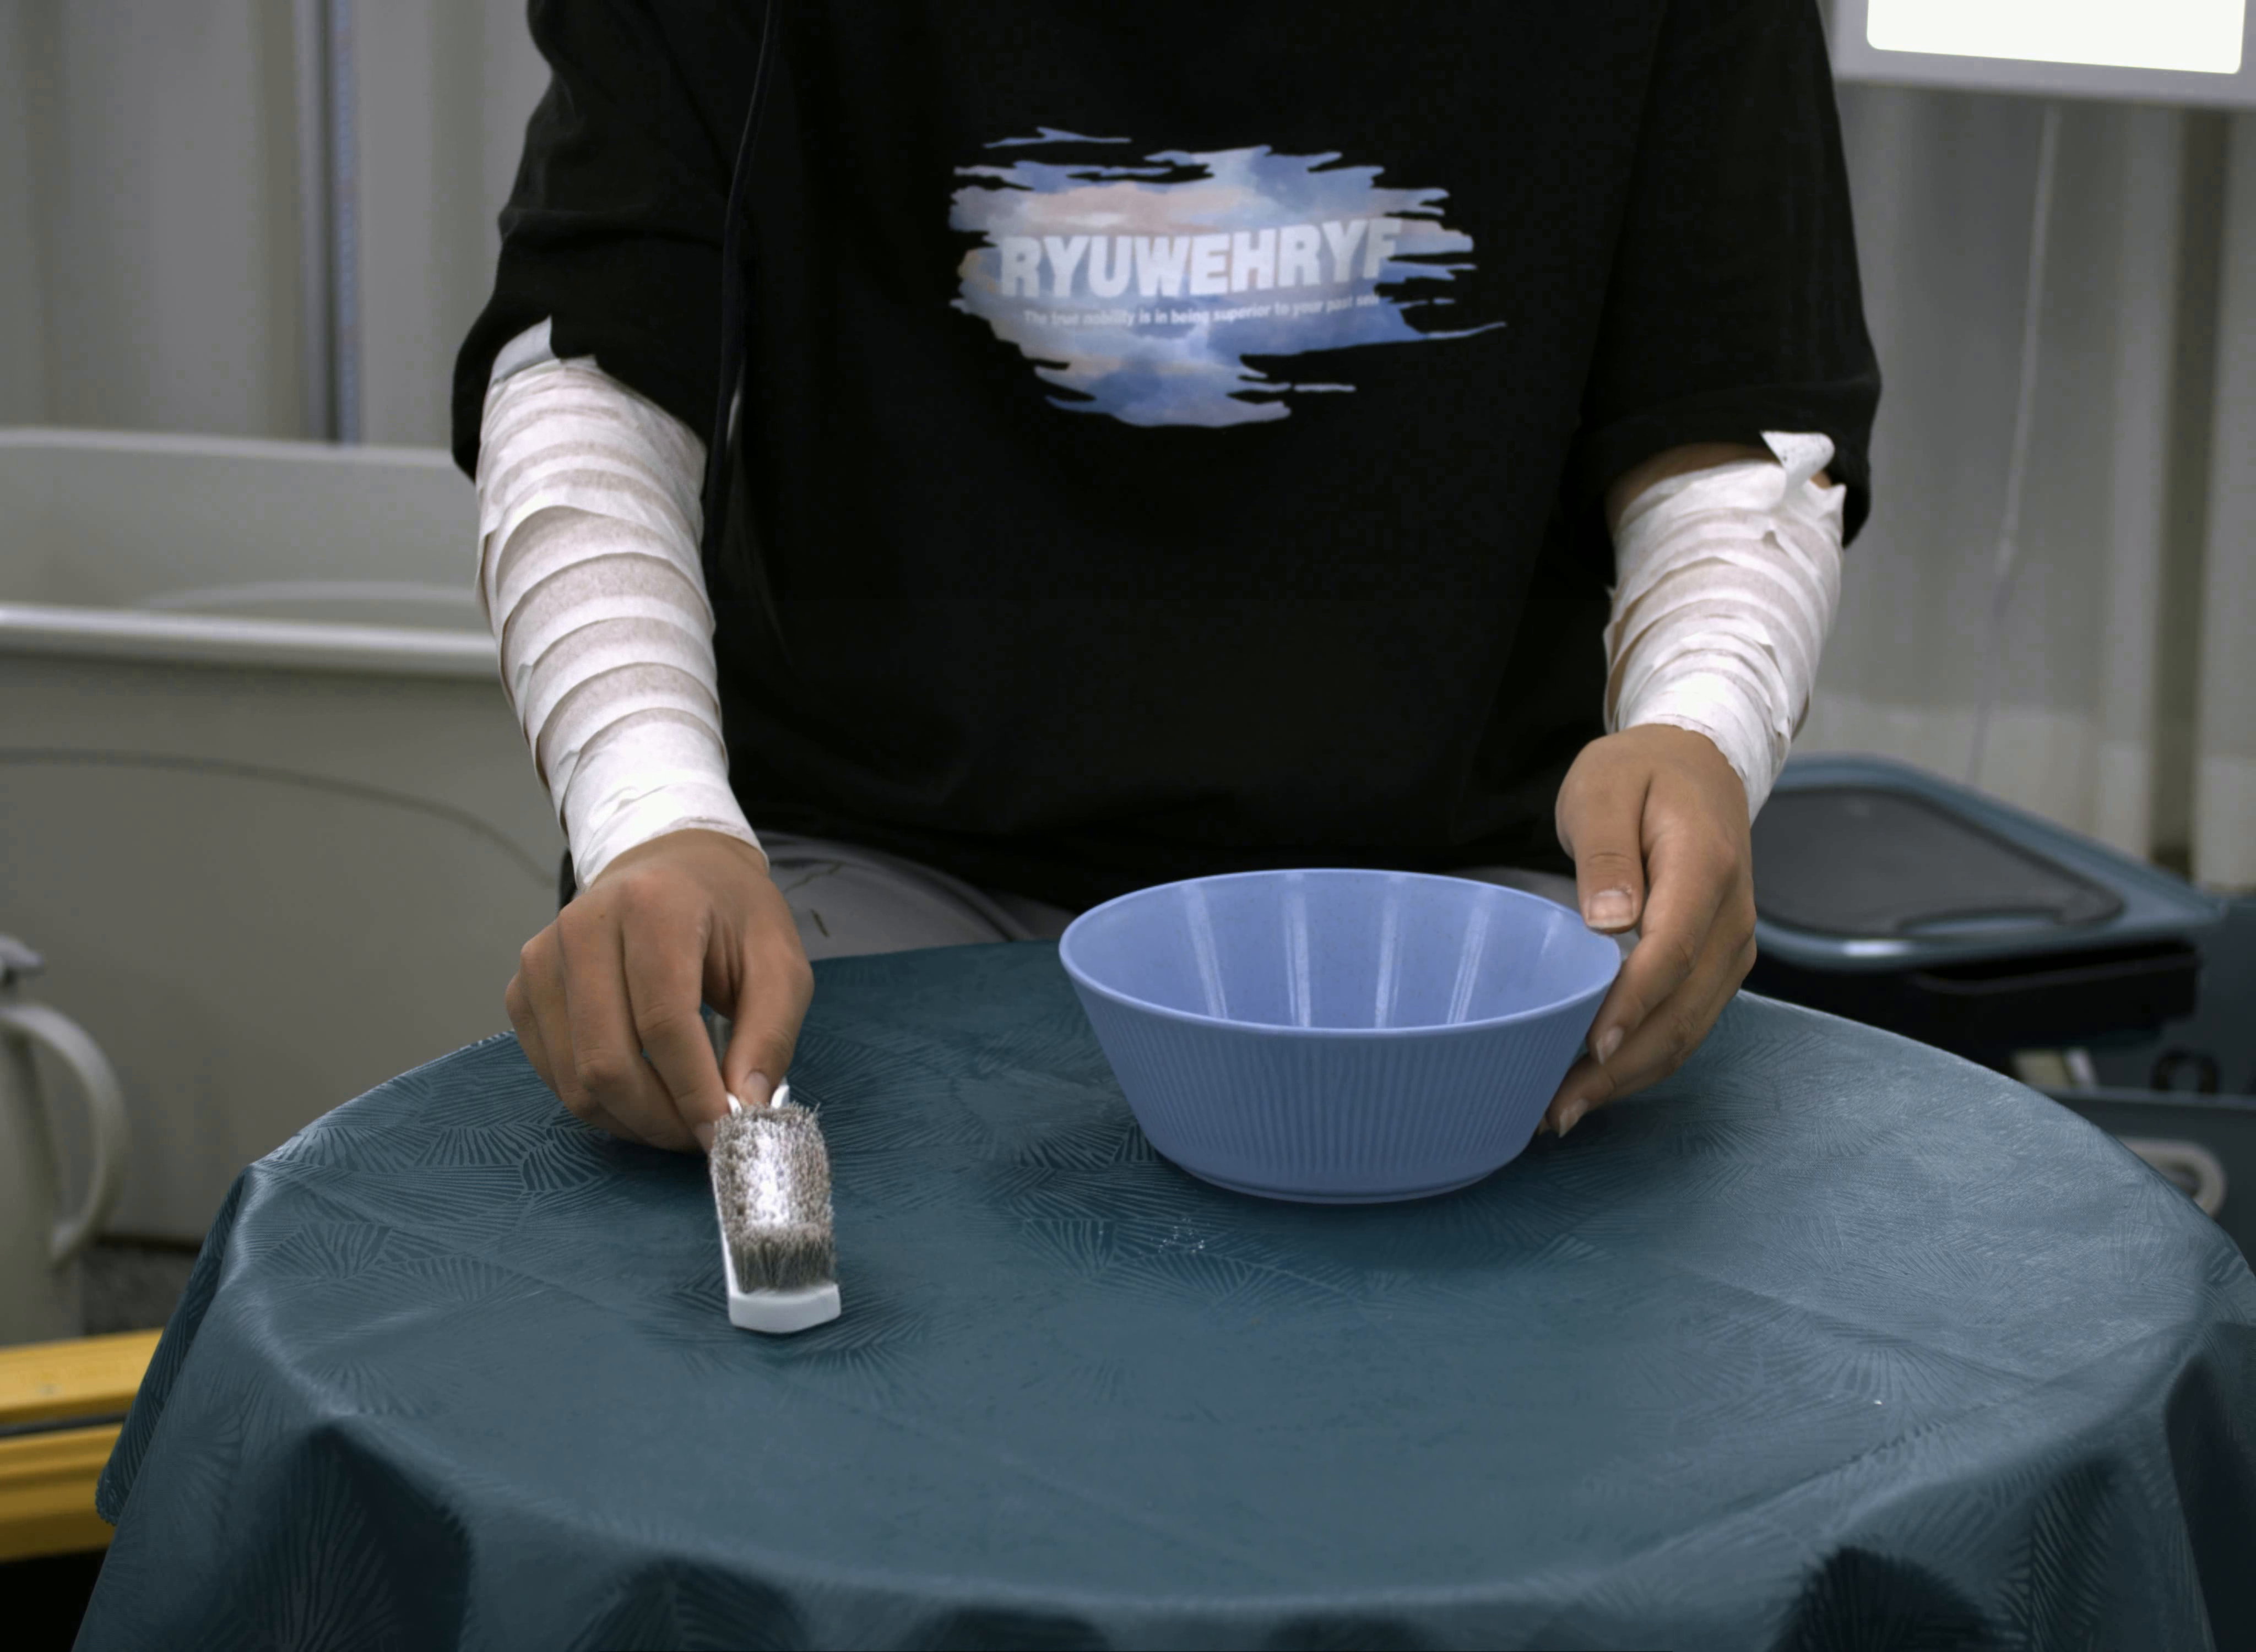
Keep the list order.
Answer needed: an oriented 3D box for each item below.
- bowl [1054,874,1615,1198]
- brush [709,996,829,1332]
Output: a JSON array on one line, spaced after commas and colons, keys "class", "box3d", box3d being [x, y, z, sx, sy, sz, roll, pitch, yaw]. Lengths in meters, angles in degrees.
[{"class": "bowl", "box3d": [0.064, 0.068, 1.655, 0.175, 0.071, 0.175, 1, 15, 0]}, {"class": "brush", "box3d": [-0.112, 0.083, 1.596, 0.034, 0.051, 0.241, -2, 21, -6]}]
